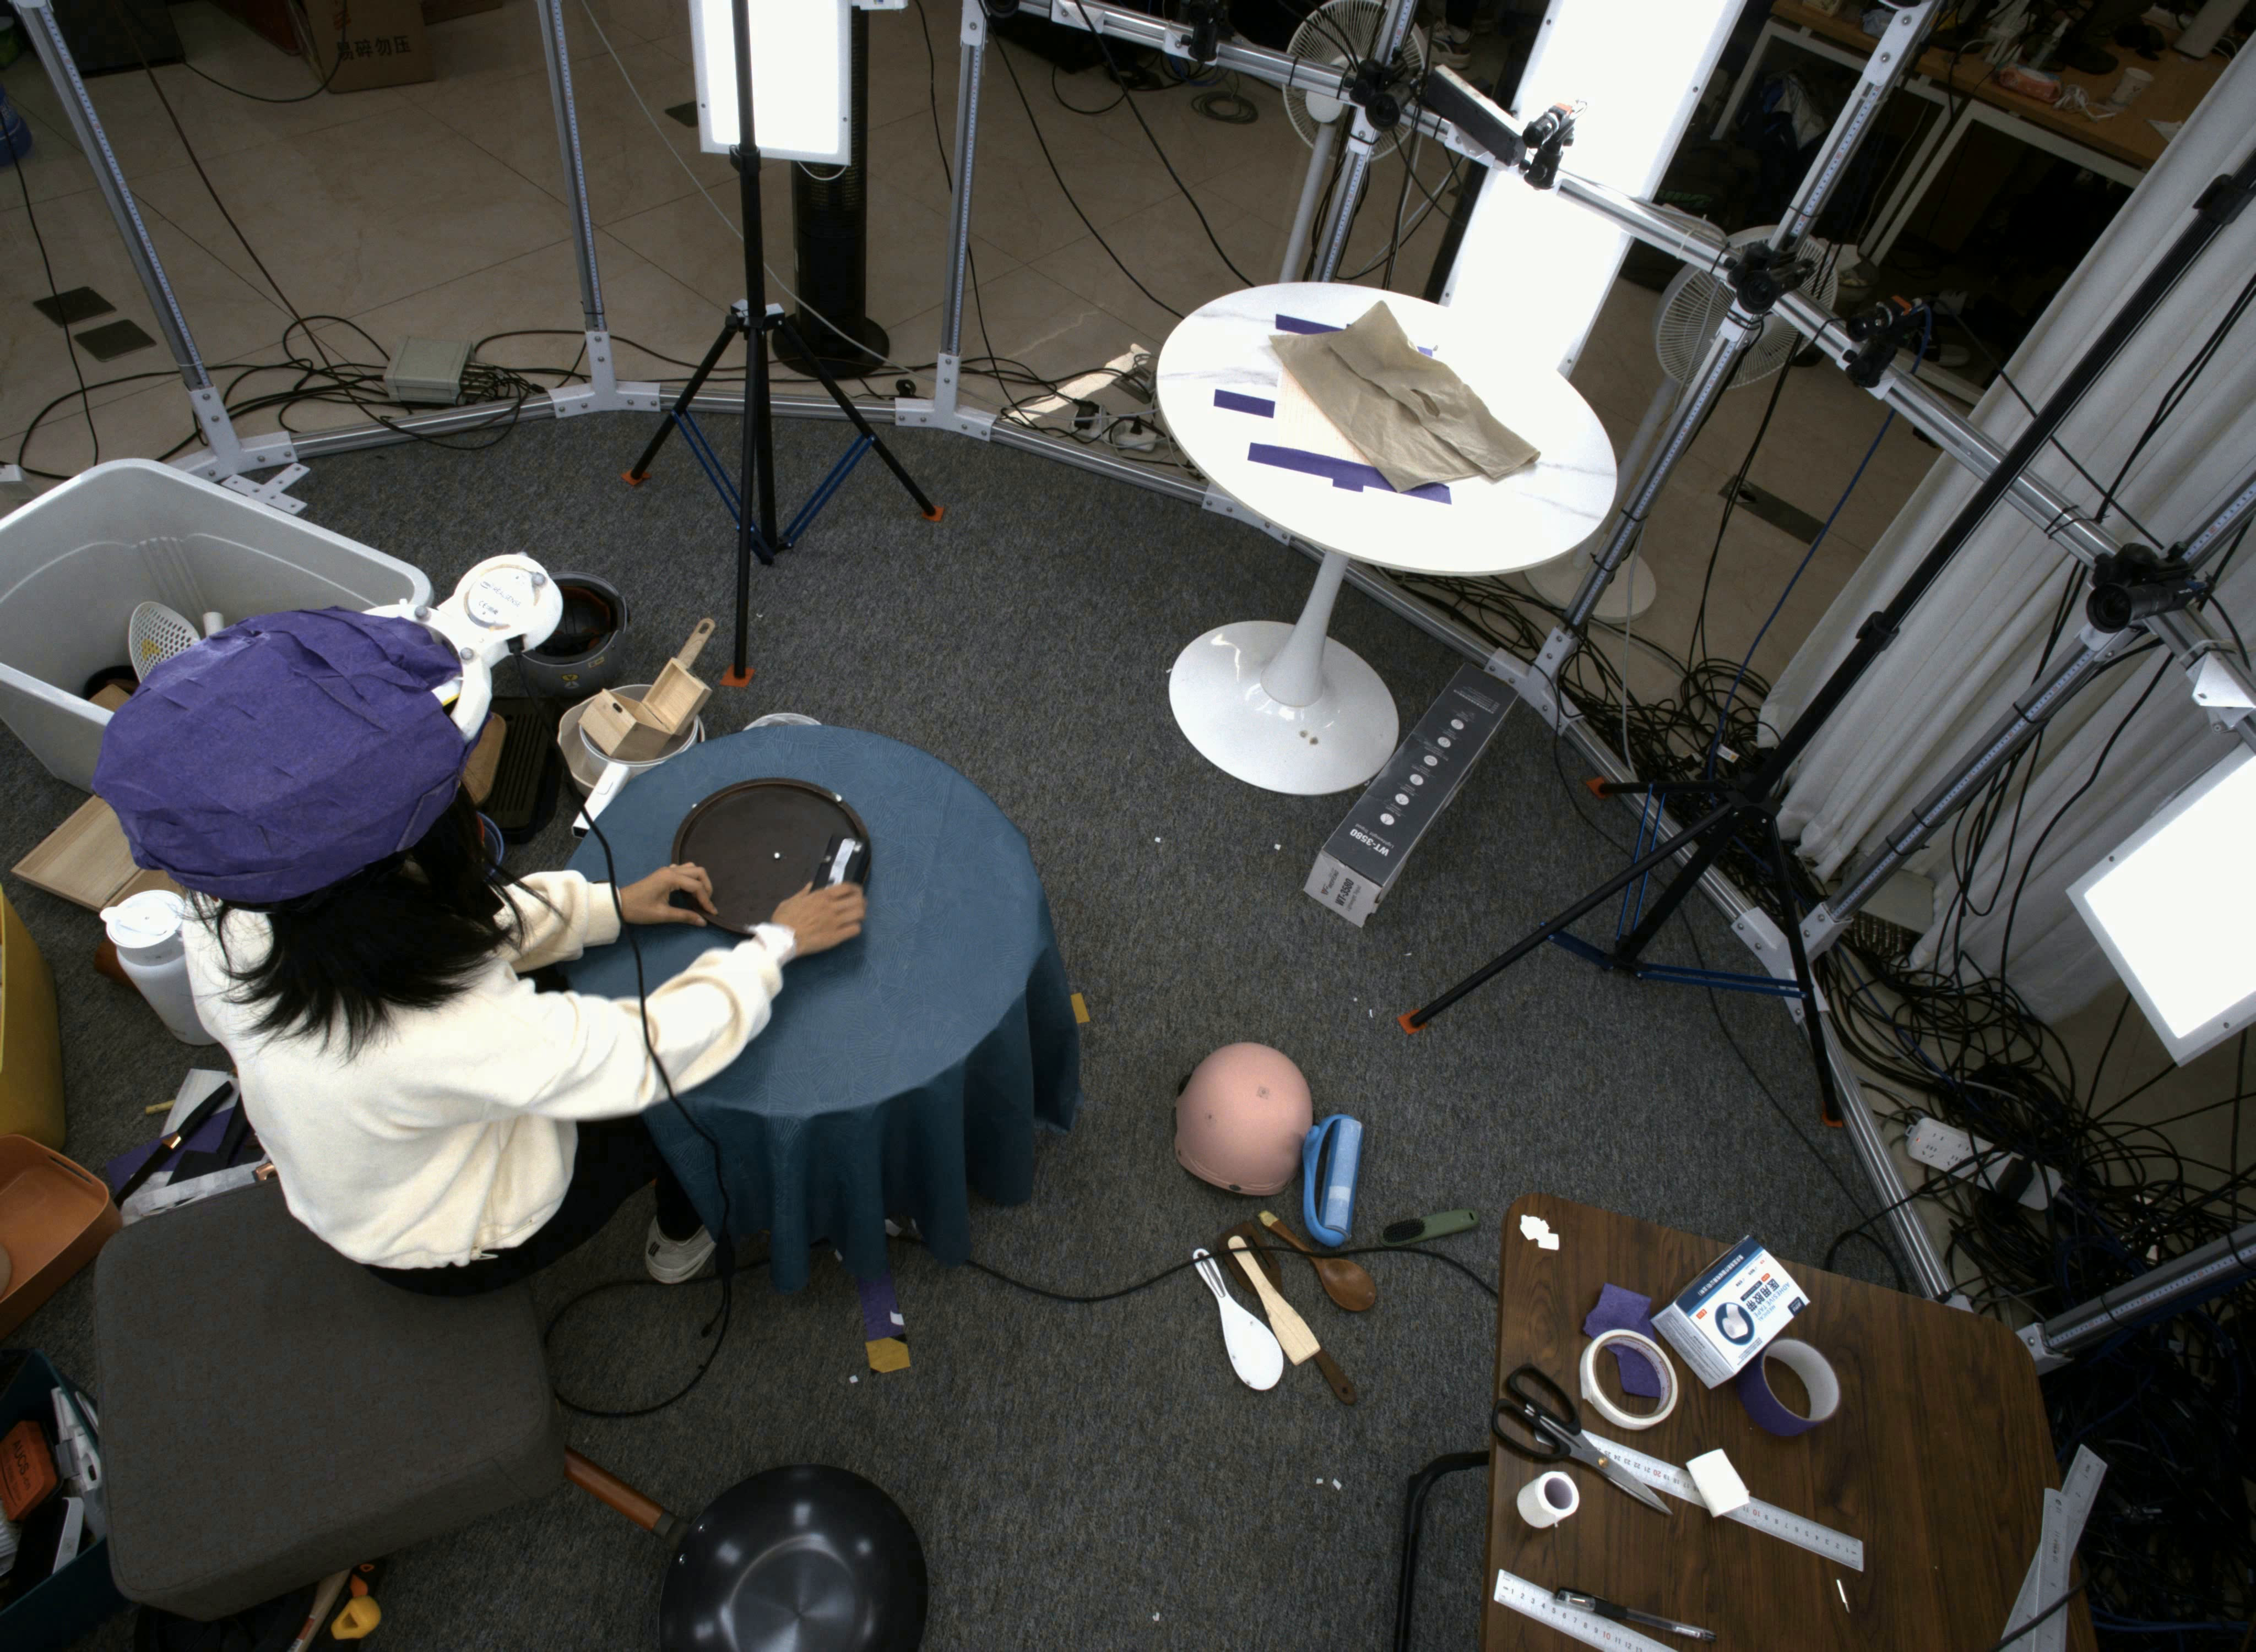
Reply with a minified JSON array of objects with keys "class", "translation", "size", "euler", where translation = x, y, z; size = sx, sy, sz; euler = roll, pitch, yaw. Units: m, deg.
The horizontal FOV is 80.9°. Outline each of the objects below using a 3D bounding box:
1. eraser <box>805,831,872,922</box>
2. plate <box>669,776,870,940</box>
[{"class":"eraser","translation":[-0.366,0.061,1.646],"size":[0.053,0.031,0.124],"euler":[7,52,3]},{"class":"plate","translation":[-0.459,0.038,1.665],"size":[0.254,0.029,0.250],"euler":[9,51,-10]}]
